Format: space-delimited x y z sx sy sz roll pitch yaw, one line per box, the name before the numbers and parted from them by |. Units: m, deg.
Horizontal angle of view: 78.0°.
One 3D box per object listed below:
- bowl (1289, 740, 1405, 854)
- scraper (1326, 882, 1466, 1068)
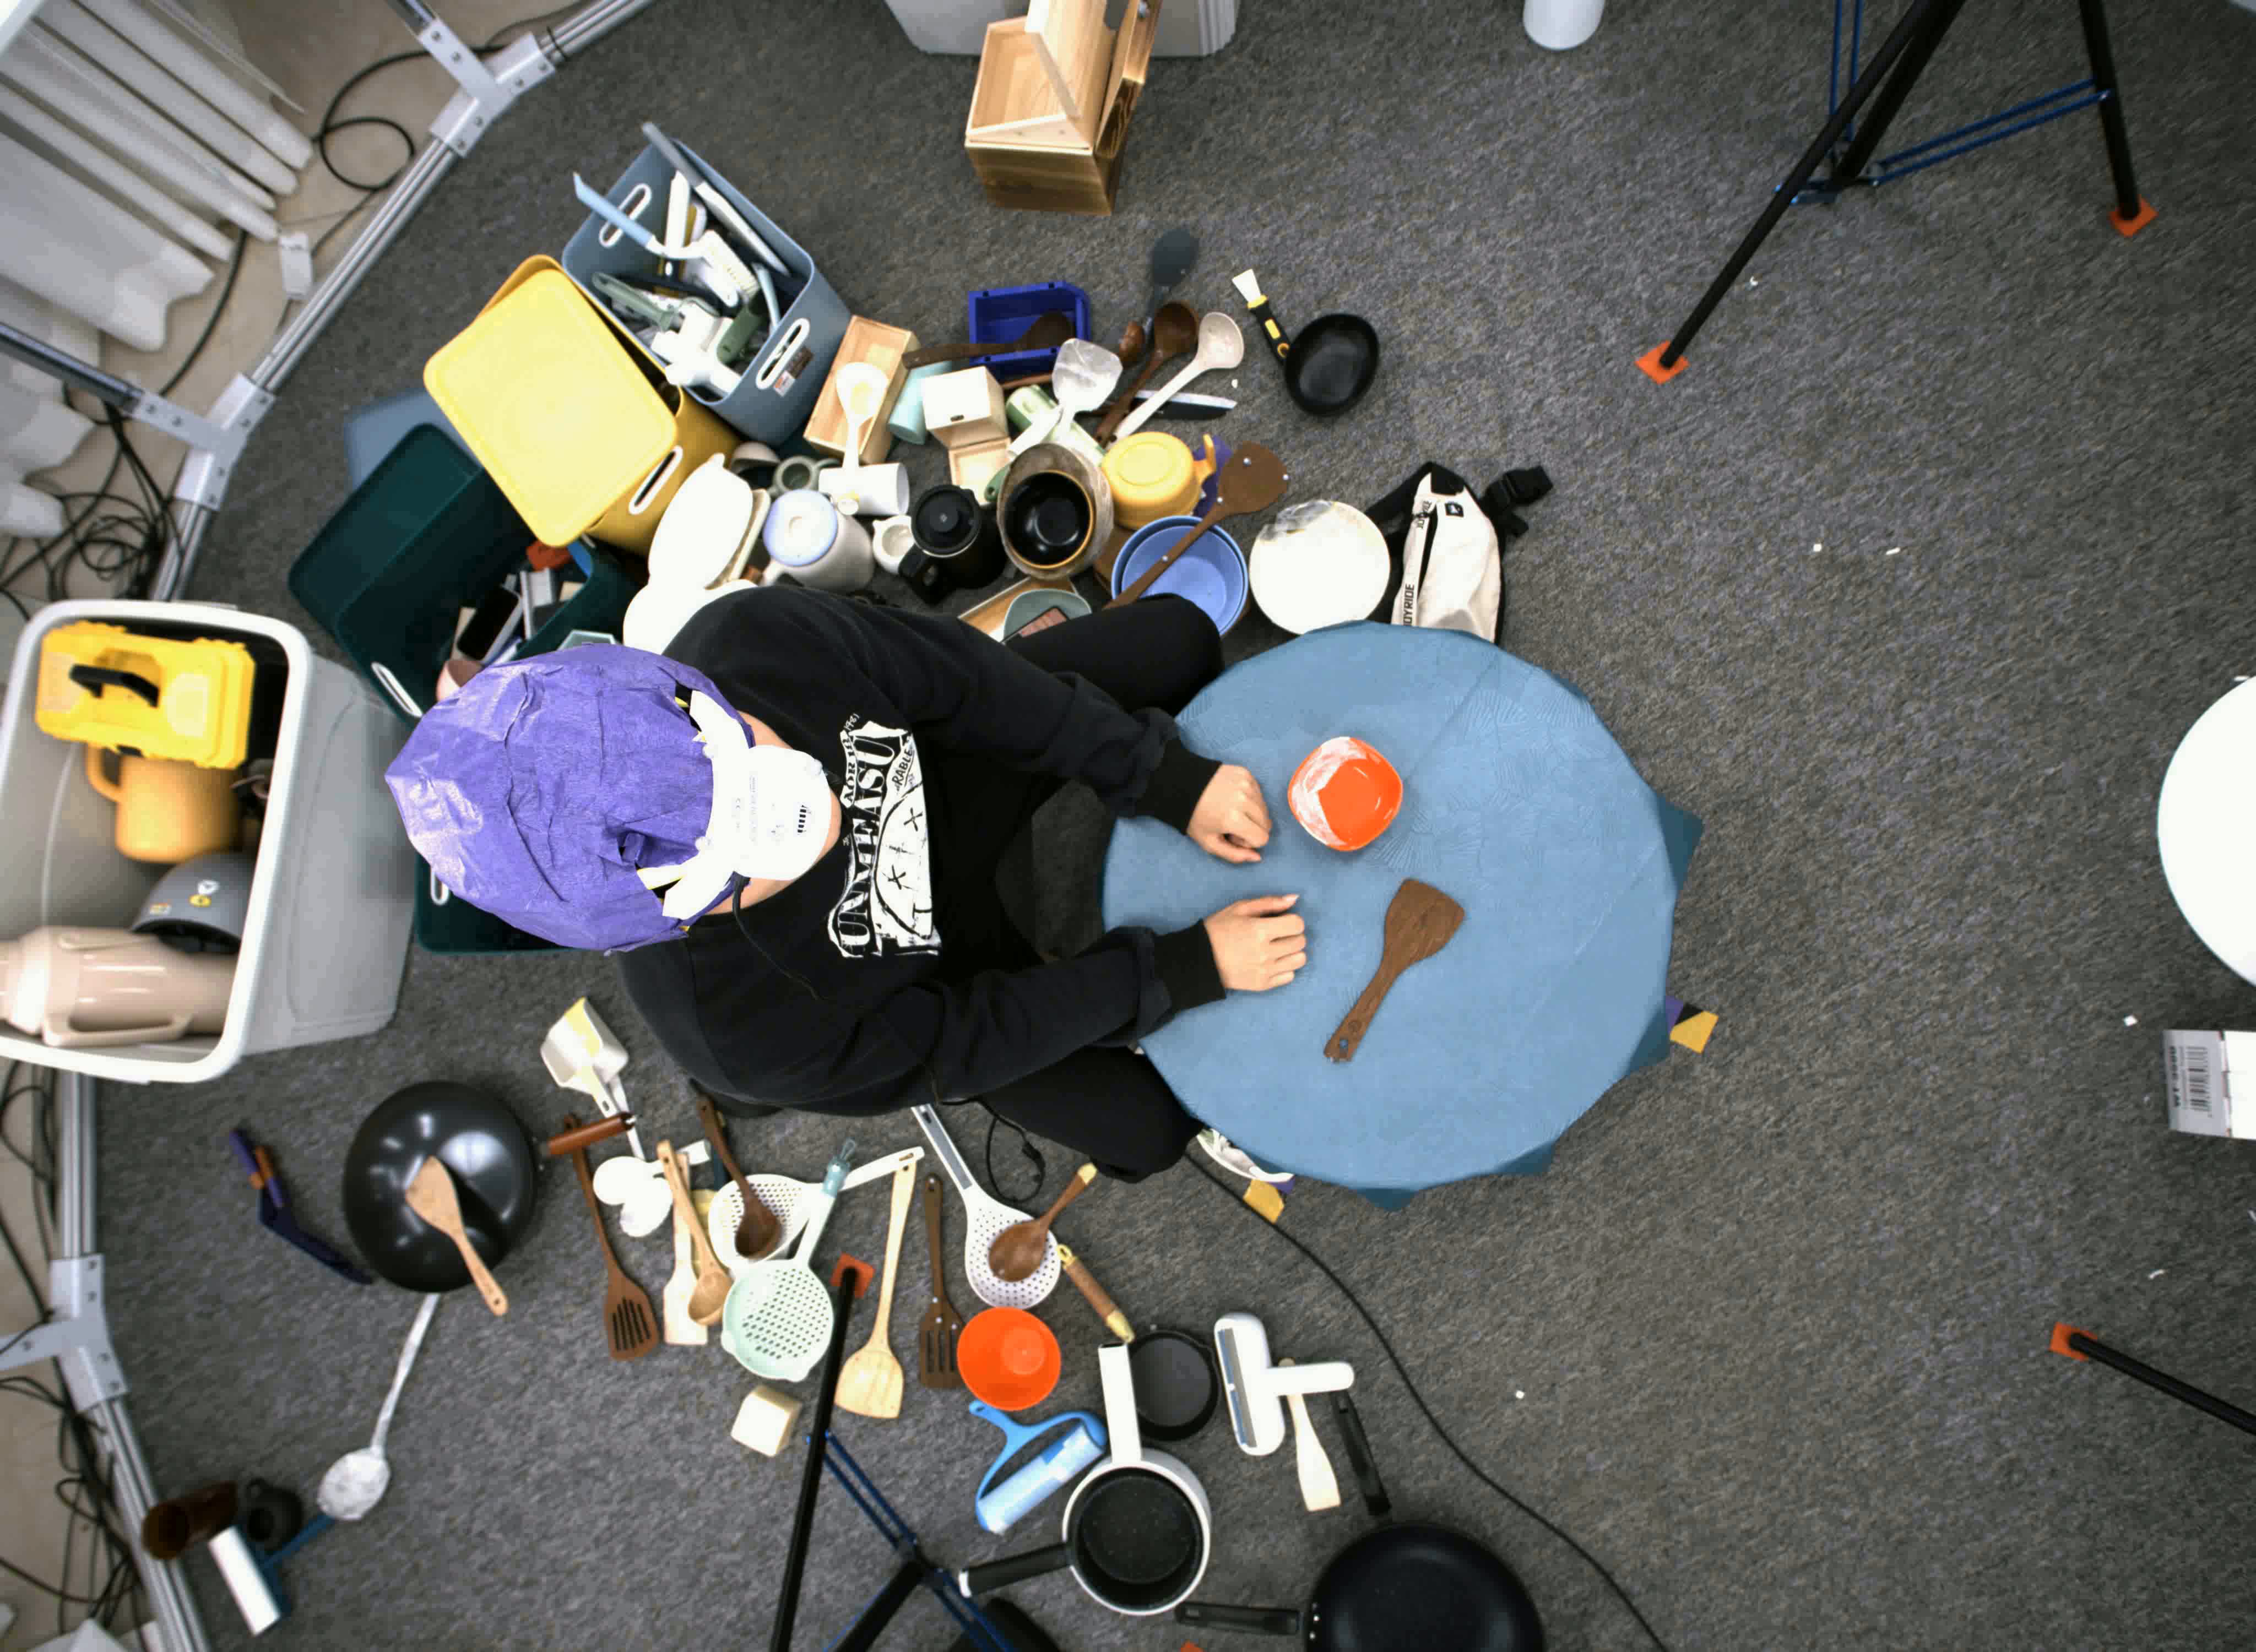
bowl | 0.230 -0.029 1.454 0.119 0.051 0.118 -1 87 9
scraper | 0.273 0.160 1.454 0.075 0.011 0.211 33 93 12
